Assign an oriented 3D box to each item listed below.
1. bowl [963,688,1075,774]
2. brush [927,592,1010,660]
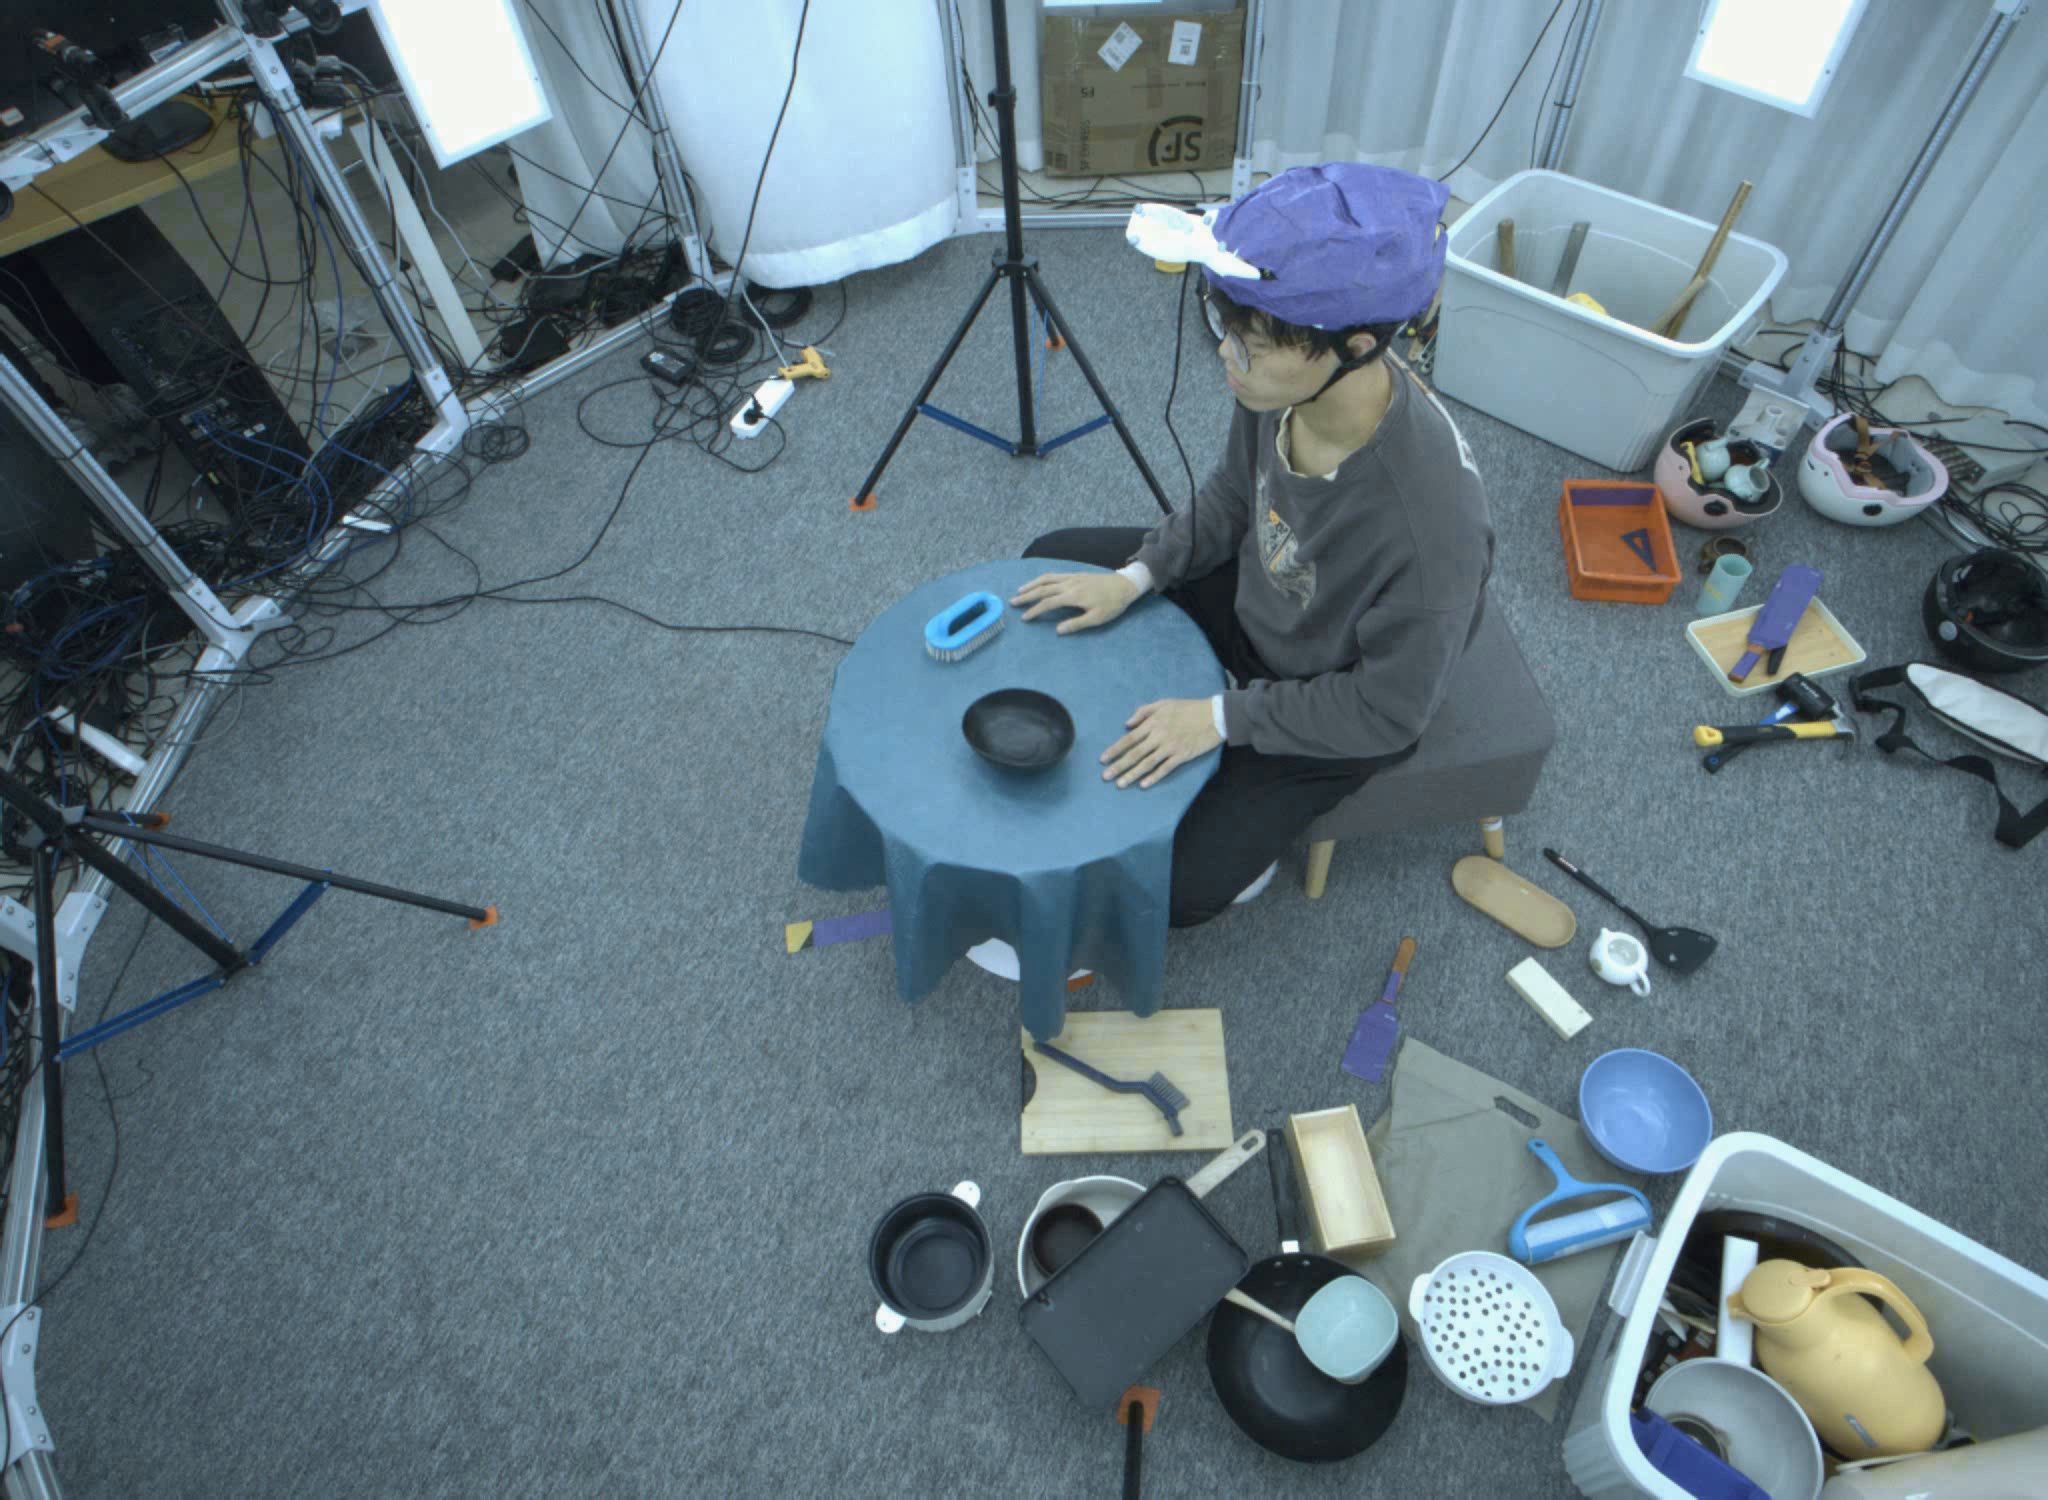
[{"bbox_3d":[-0.007,-0.017,1.758,0.168,0.067,0.137,19,57,17],"label":"bowl"},{"bbox_3d":[-0.090,-0.203,1.893,0.143,0.064,0.082,-35,55,-22],"label":"brush"}]
